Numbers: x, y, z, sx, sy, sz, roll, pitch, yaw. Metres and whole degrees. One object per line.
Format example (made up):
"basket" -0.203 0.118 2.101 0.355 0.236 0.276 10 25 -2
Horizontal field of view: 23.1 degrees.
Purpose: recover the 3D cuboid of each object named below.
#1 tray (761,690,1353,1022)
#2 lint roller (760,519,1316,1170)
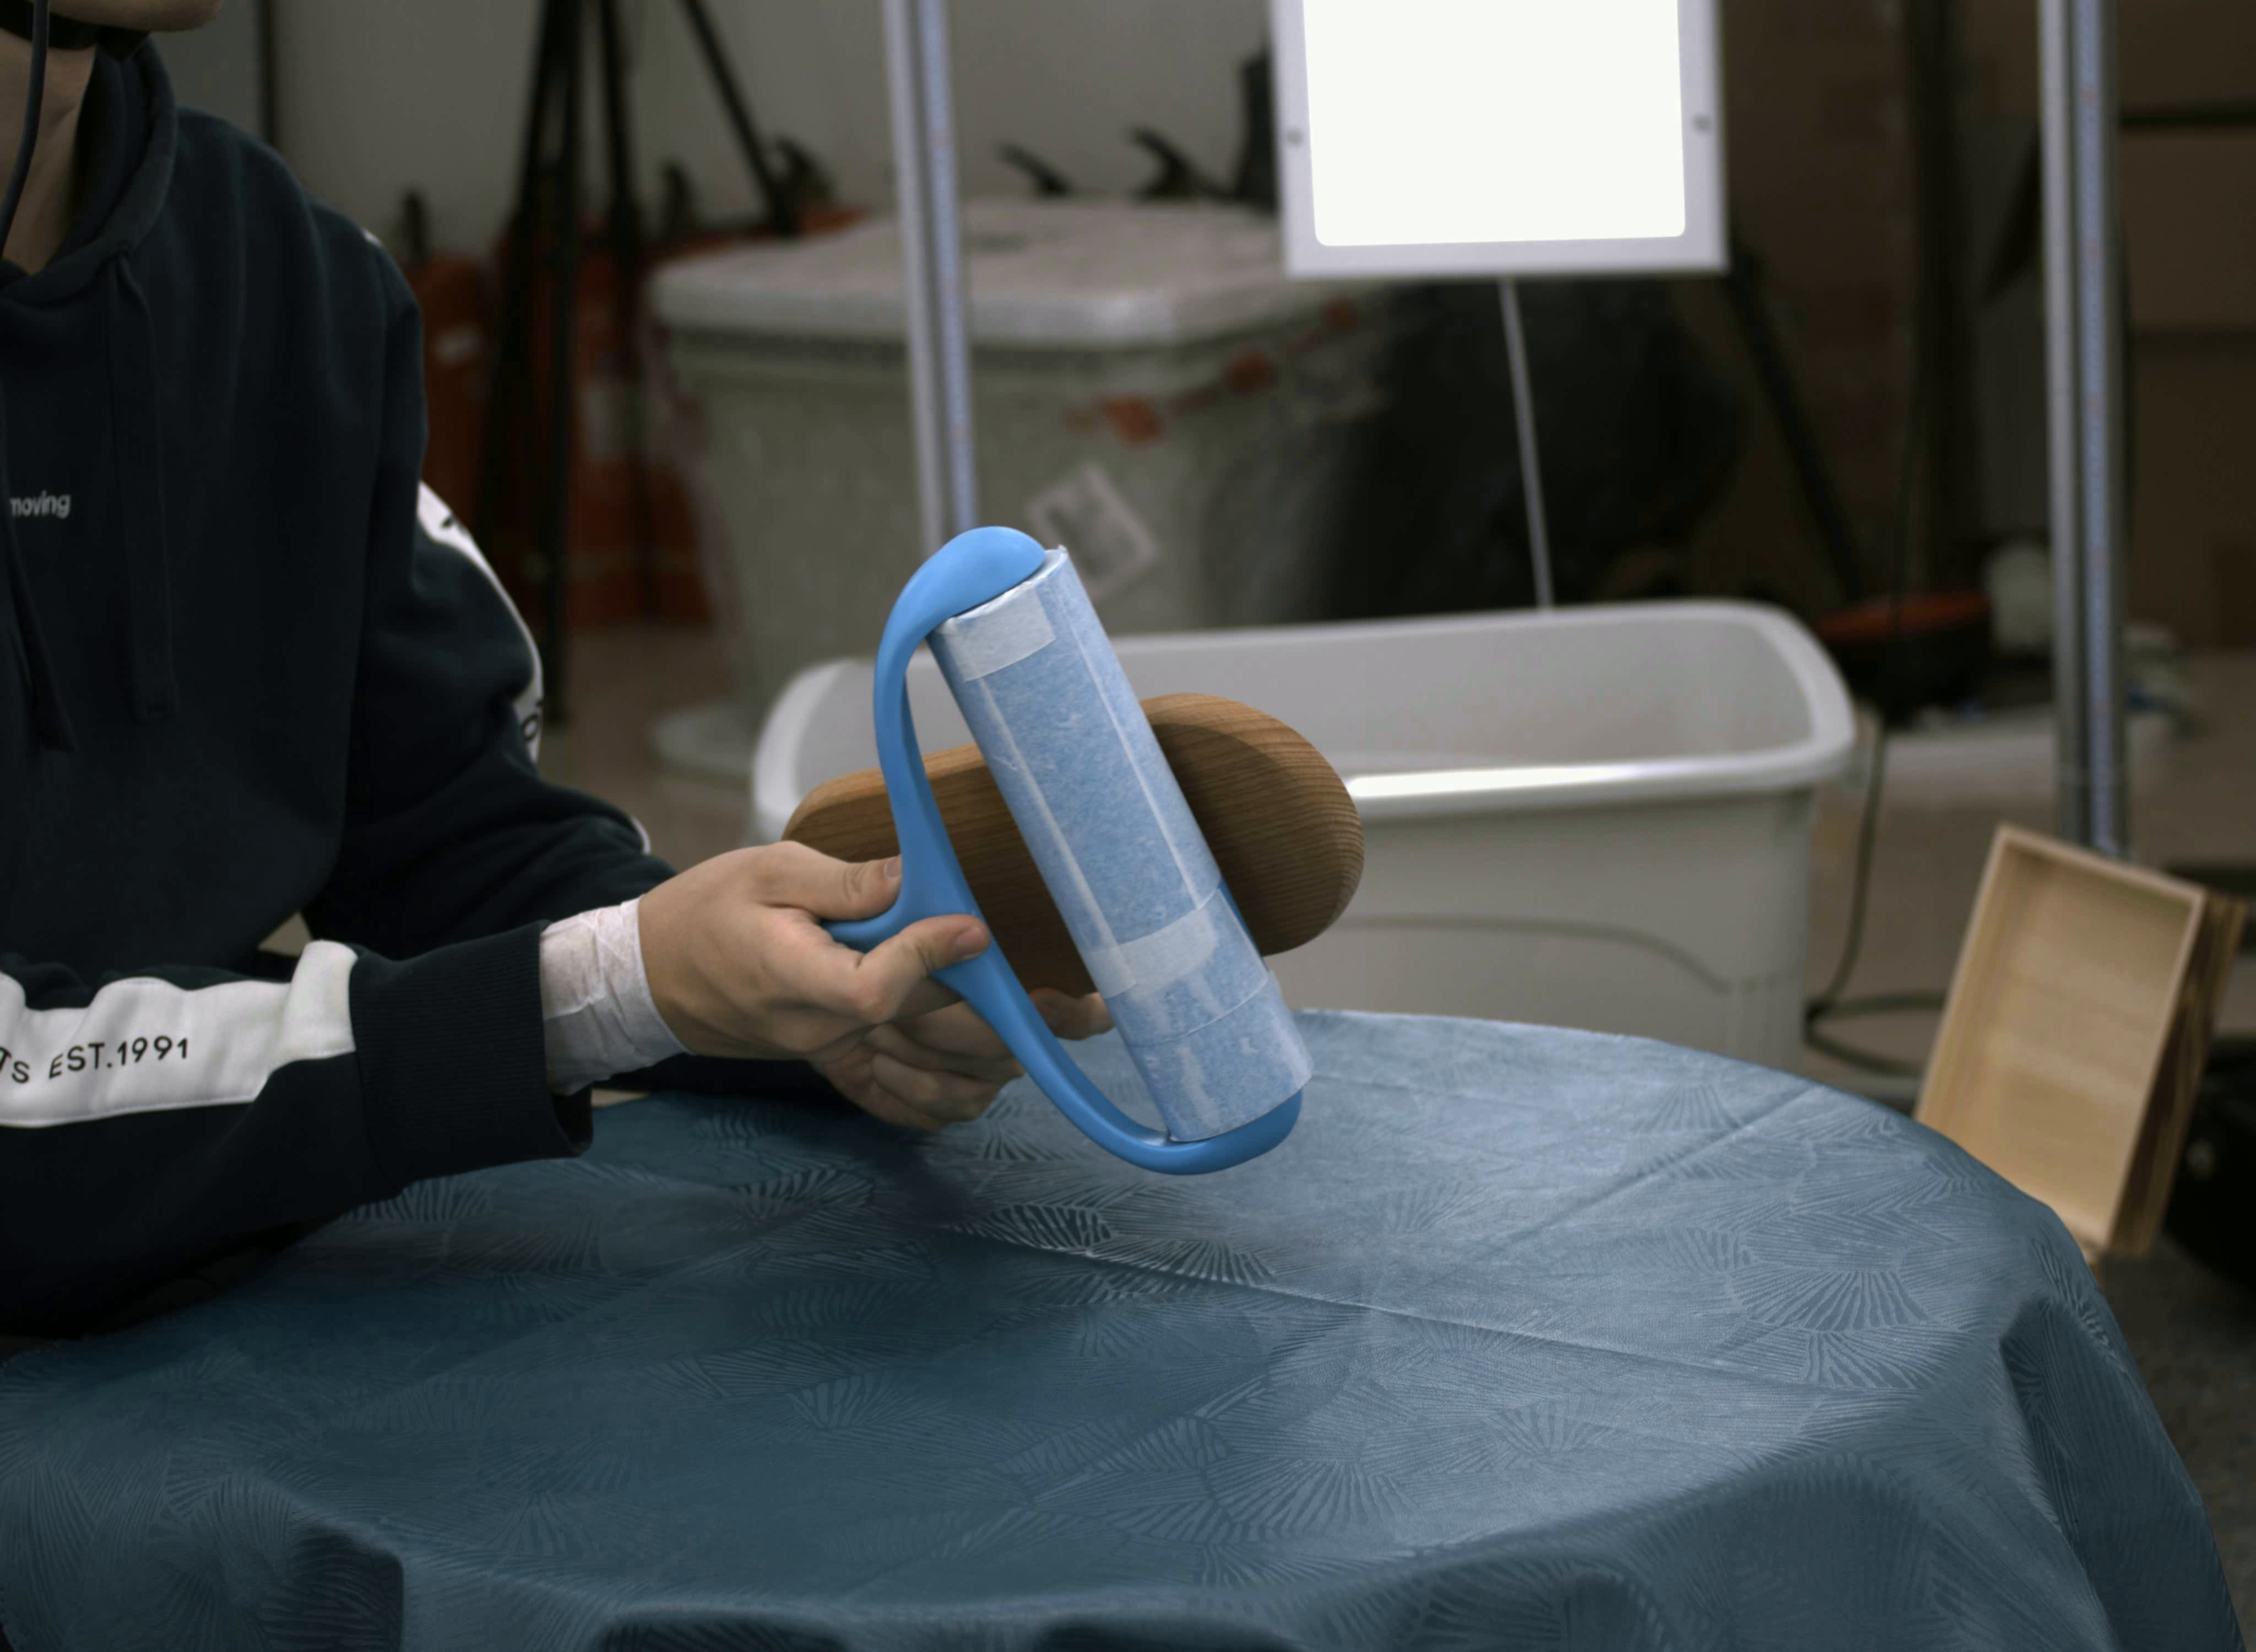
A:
"tray" -0.027 0.013 1.847 0.236 0.101 0.020 -13 25 35
"lint roller" -0.053 0.025 1.806 0.183 0.228 0.067 -22 15 29
